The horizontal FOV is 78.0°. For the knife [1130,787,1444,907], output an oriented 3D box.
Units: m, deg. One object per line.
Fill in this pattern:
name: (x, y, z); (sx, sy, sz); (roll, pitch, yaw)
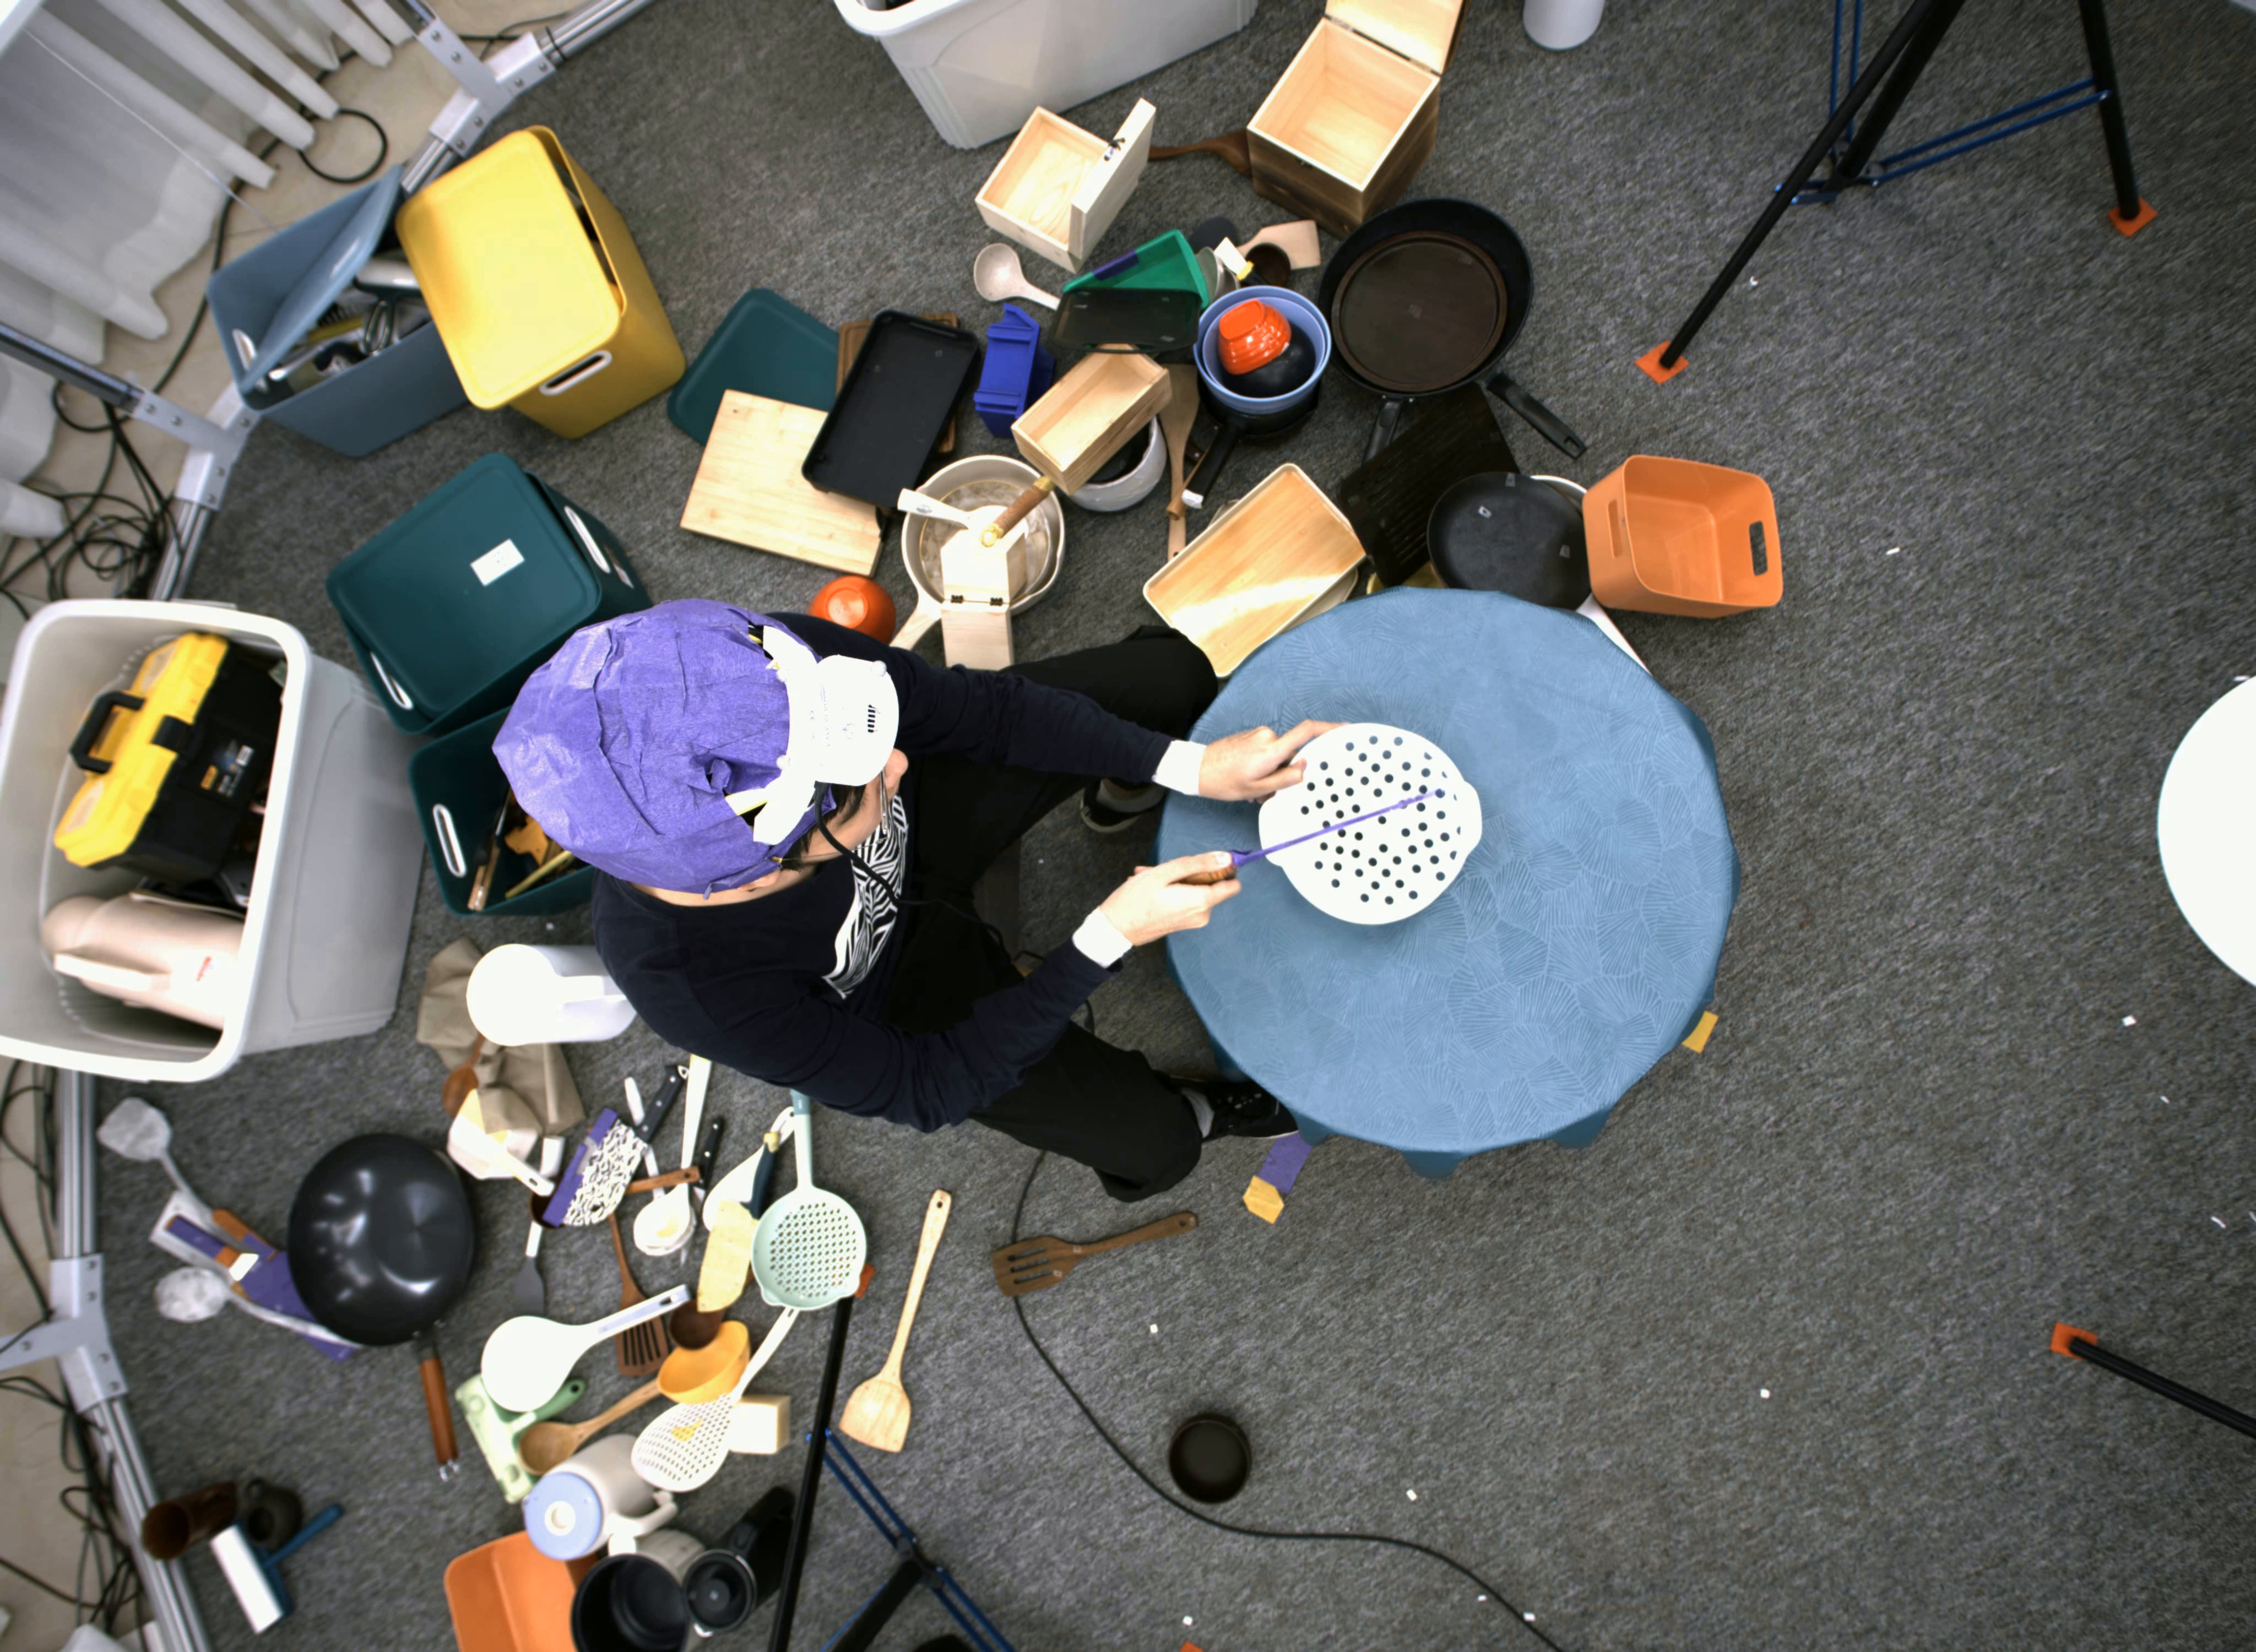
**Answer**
knife: (0.159, 0.019, 1.359); (0.317, 0.104, 0.032); (-18, 83, 11)

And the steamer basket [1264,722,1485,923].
steamer basket: (0.256, -0.006, 1.406); (0.232, 0.068, 0.202); (-4, 94, 29)
